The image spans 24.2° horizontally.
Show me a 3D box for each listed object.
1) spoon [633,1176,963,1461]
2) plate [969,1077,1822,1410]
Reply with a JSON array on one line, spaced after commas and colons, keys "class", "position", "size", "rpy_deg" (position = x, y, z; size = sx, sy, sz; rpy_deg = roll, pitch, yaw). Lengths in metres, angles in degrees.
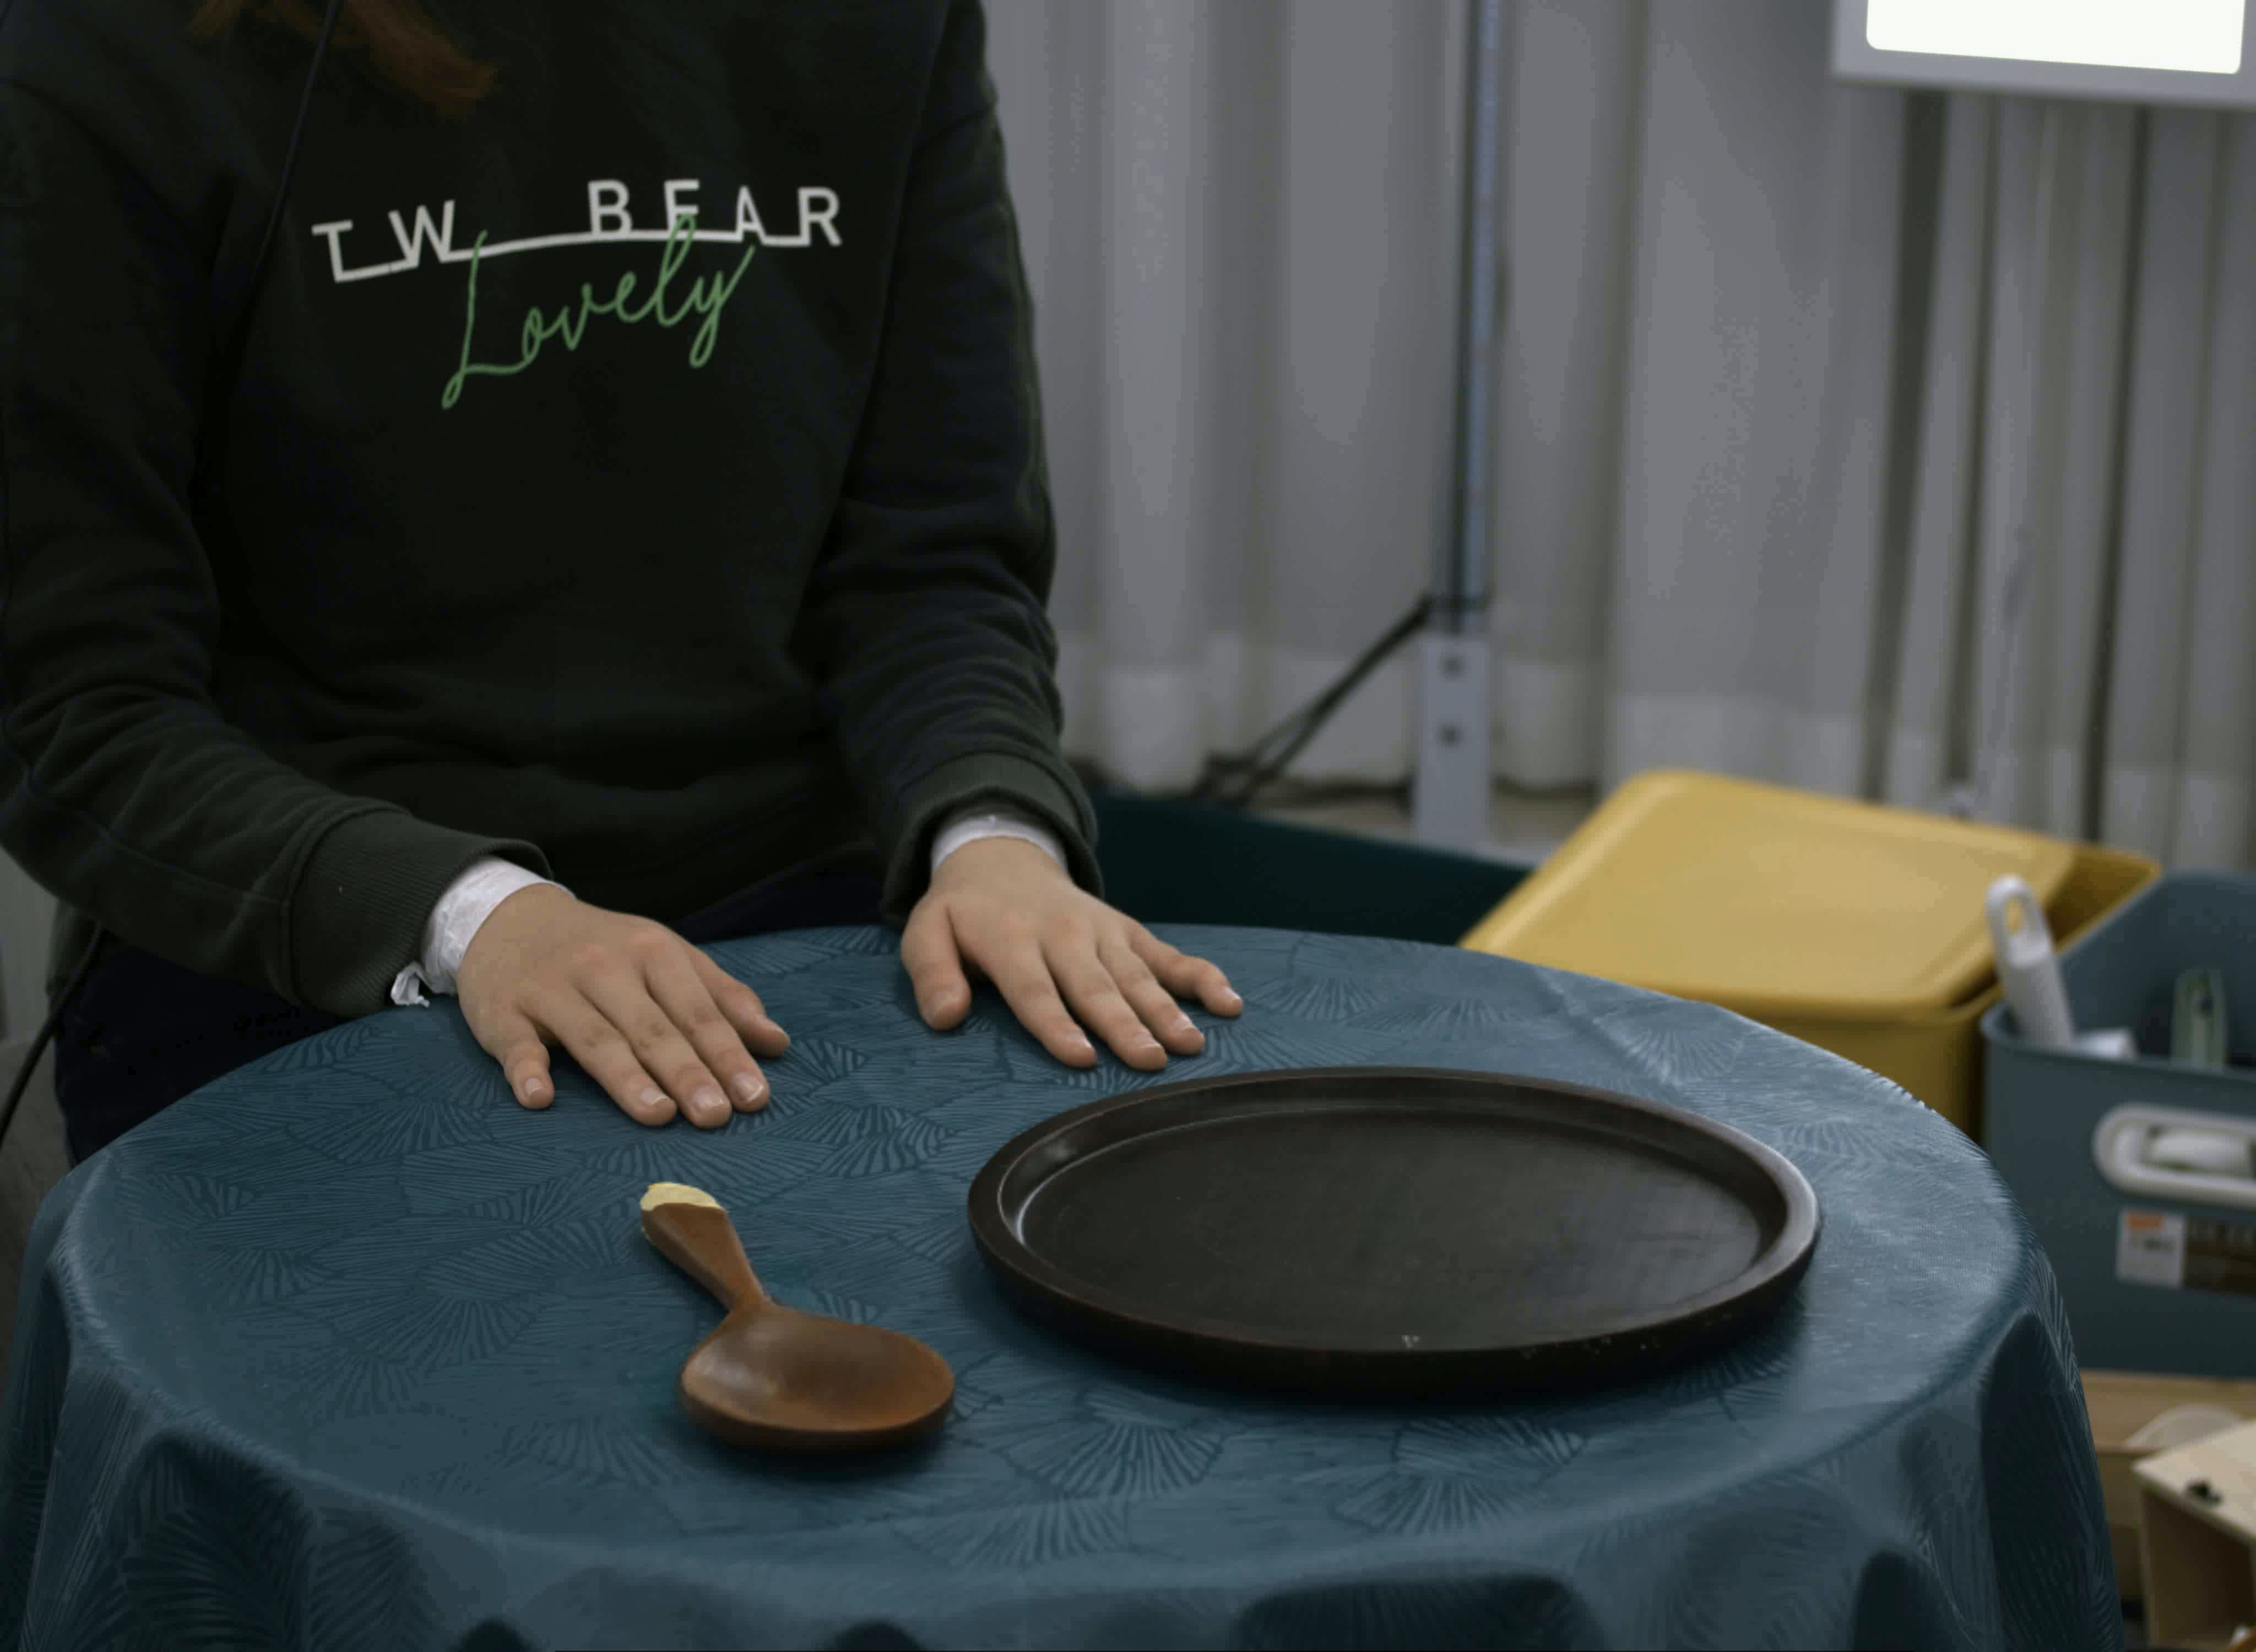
[{"class": "spoon", "position": [-0.104, 0.140, 1.493], "size": [0.075, 0.017, 0.213], "rpy_deg": [-5, 17, -19]}, {"class": "plate", "position": [0.079, 0.120, 1.562], "size": [0.254, 0.029, 0.253], "rpy_deg": [2, 17, 0]}]
